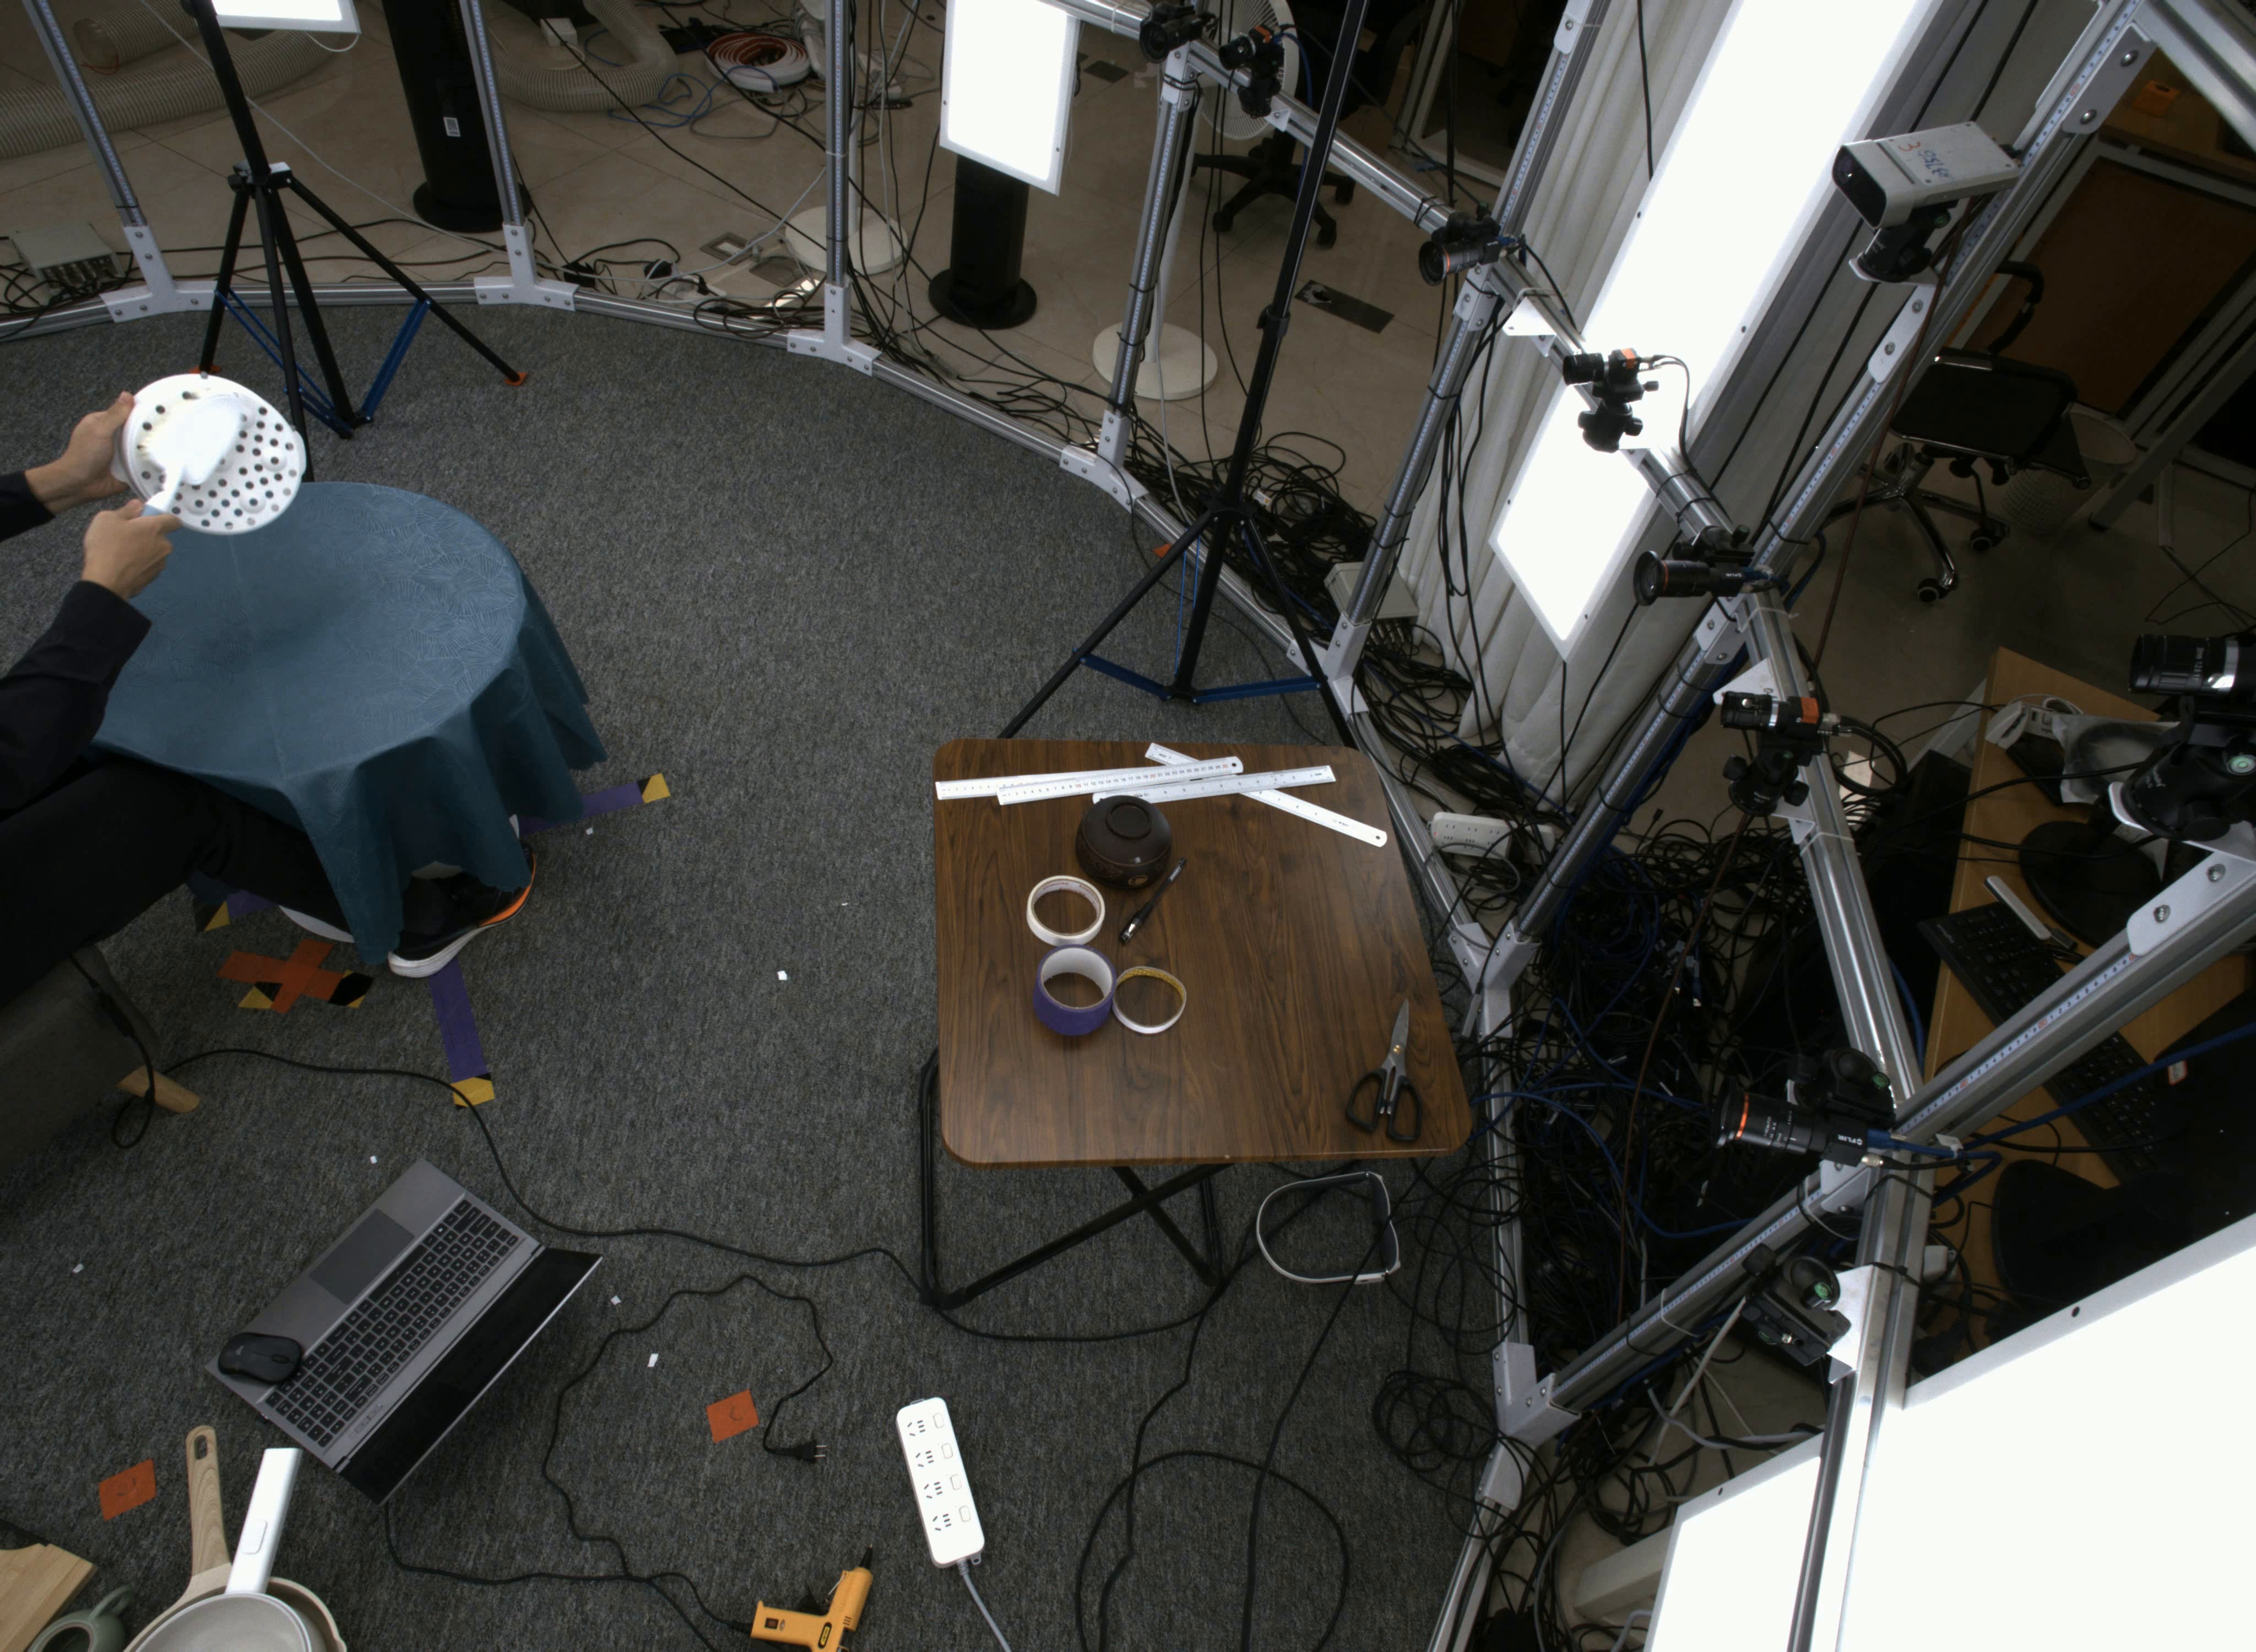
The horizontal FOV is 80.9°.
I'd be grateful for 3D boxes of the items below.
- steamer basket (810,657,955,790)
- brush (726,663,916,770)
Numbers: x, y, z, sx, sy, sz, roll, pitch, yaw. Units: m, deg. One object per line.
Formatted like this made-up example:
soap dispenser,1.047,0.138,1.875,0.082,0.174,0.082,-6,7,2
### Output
steamer basket,-0.381,-0.160,2.025,0.233,0.203,0.068,19,-3,-16
brush,-0.459,-0.163,1.920,0.326,0.086,0.081,-32,64,-29
